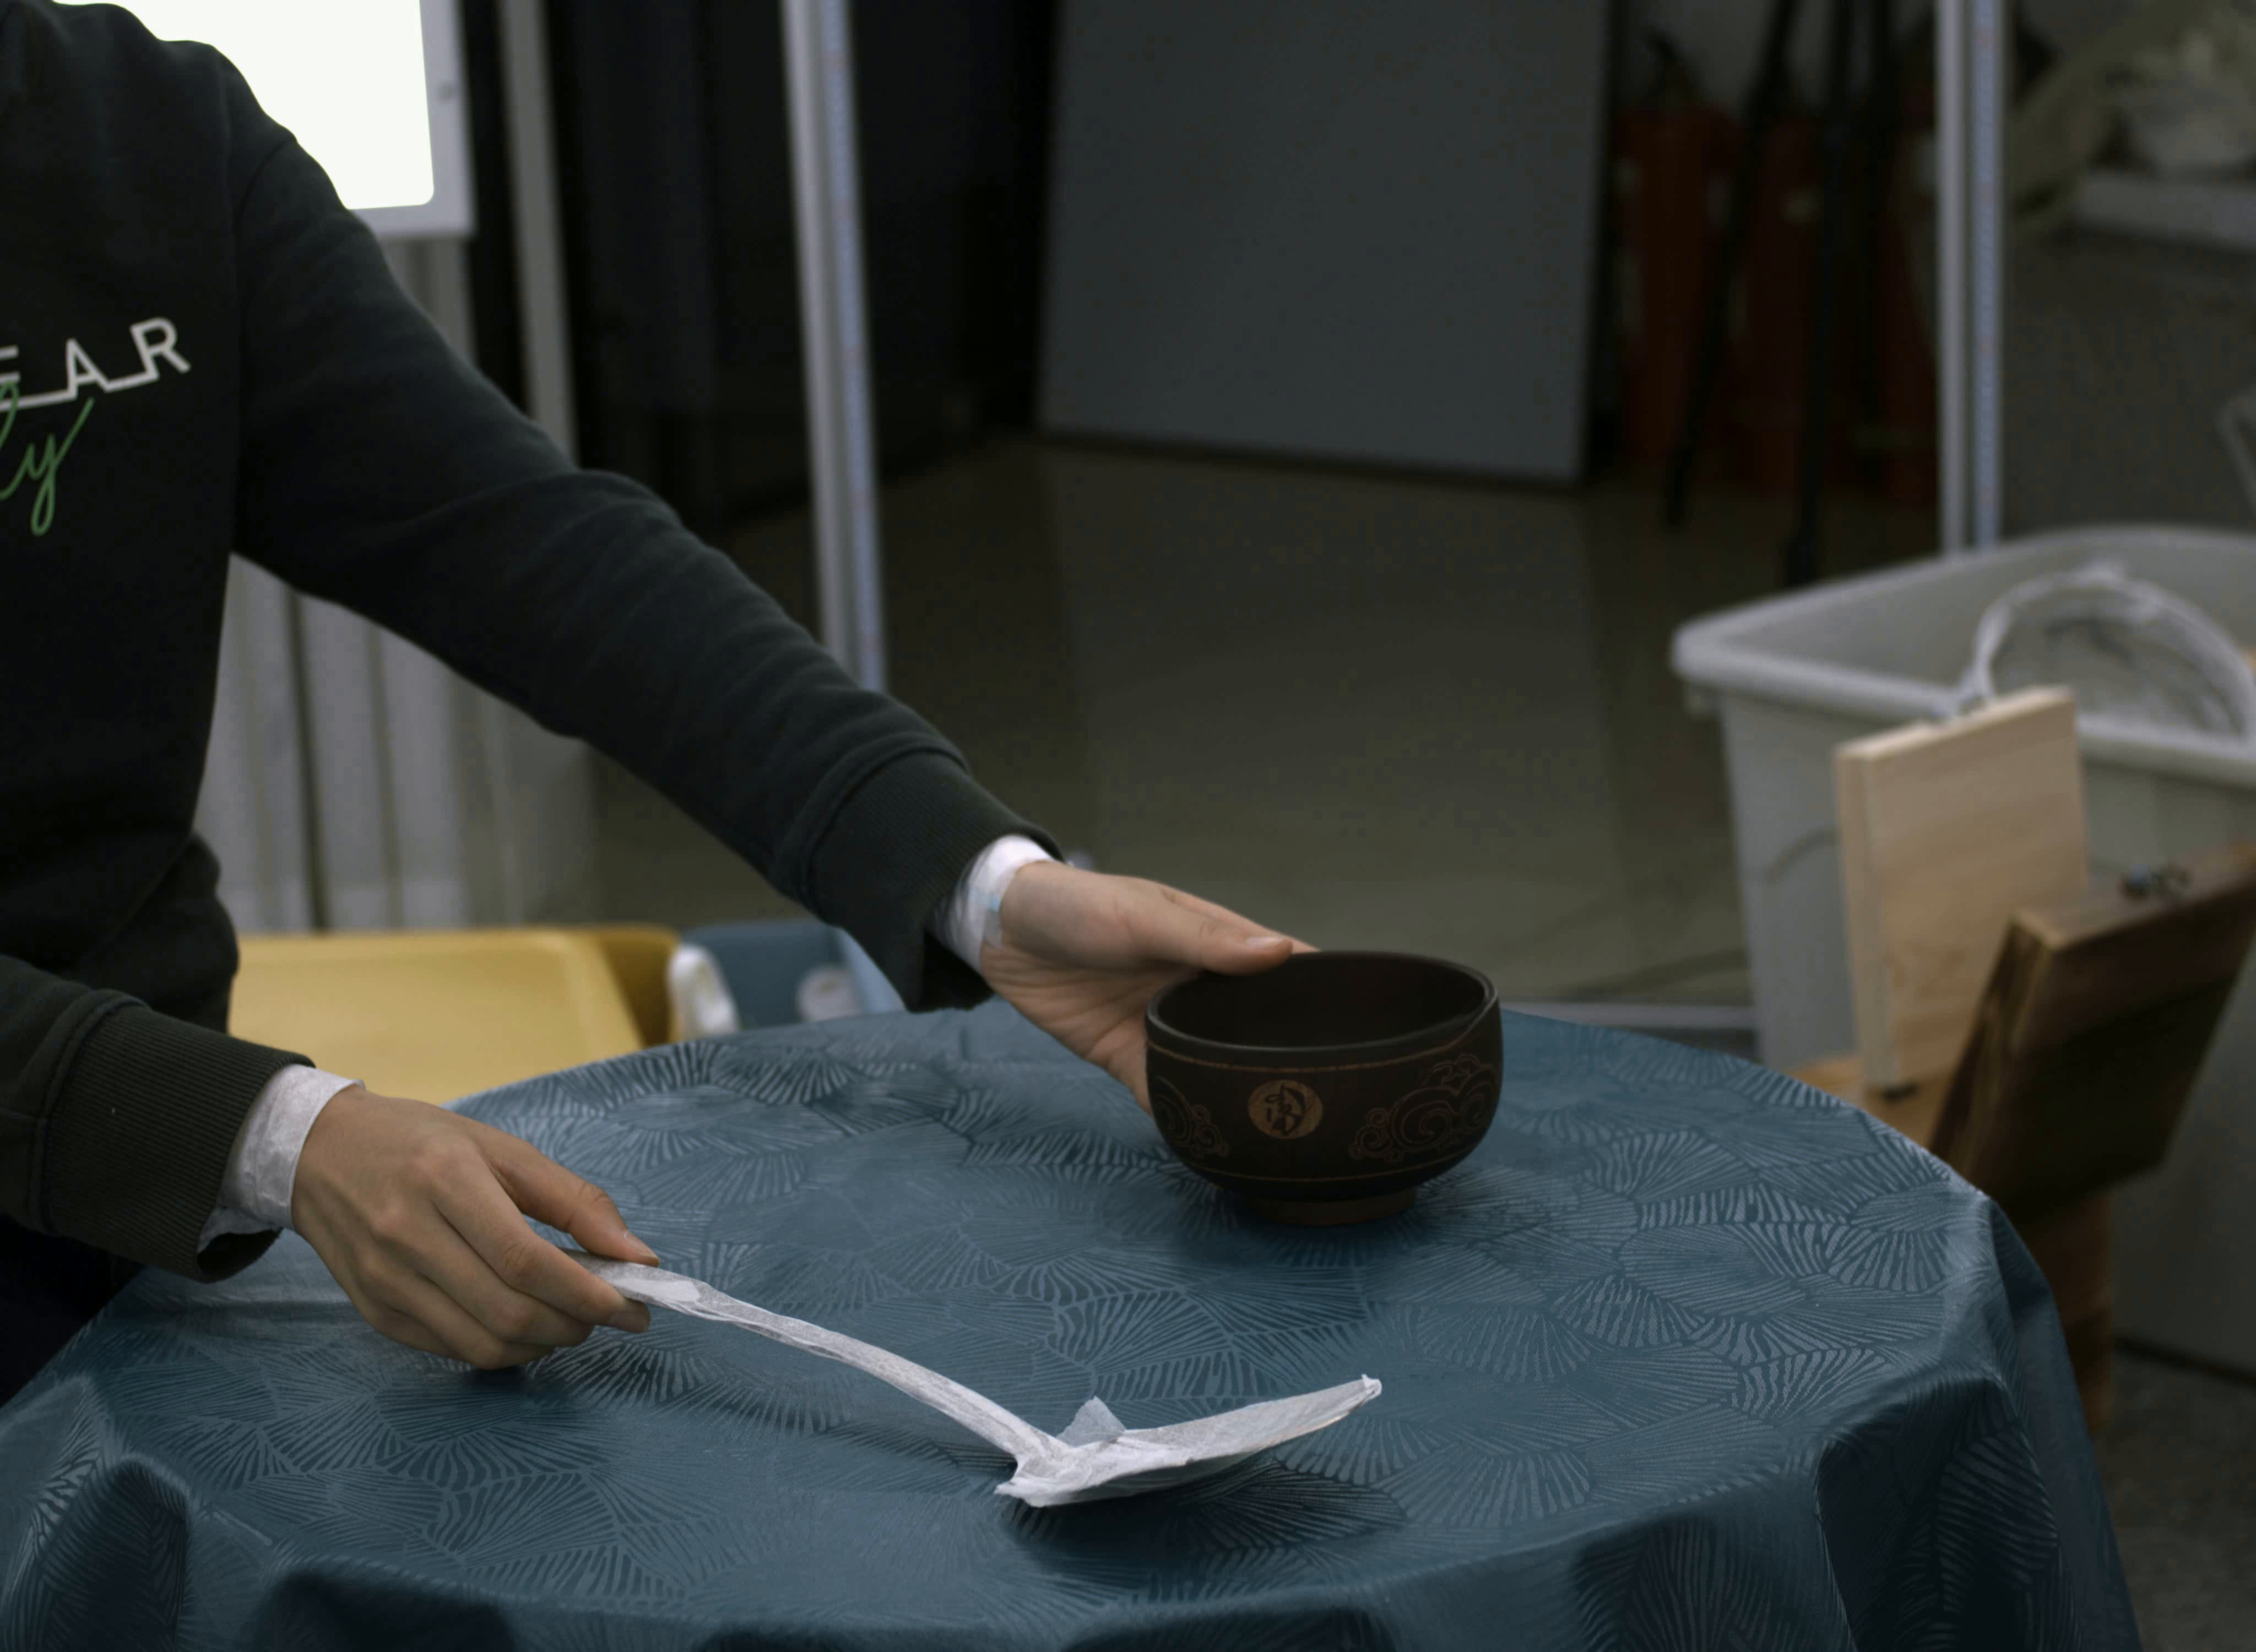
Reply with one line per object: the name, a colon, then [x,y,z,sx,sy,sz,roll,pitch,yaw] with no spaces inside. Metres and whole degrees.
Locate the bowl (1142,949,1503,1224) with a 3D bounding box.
bowl: [0.064,0.087,1.740,0.116,0.070,0.118,-4,12,0]

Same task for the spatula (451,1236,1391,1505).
spatula: [-0.082,0.148,1.578,0.368,0.045,0.097,14,21,41]
